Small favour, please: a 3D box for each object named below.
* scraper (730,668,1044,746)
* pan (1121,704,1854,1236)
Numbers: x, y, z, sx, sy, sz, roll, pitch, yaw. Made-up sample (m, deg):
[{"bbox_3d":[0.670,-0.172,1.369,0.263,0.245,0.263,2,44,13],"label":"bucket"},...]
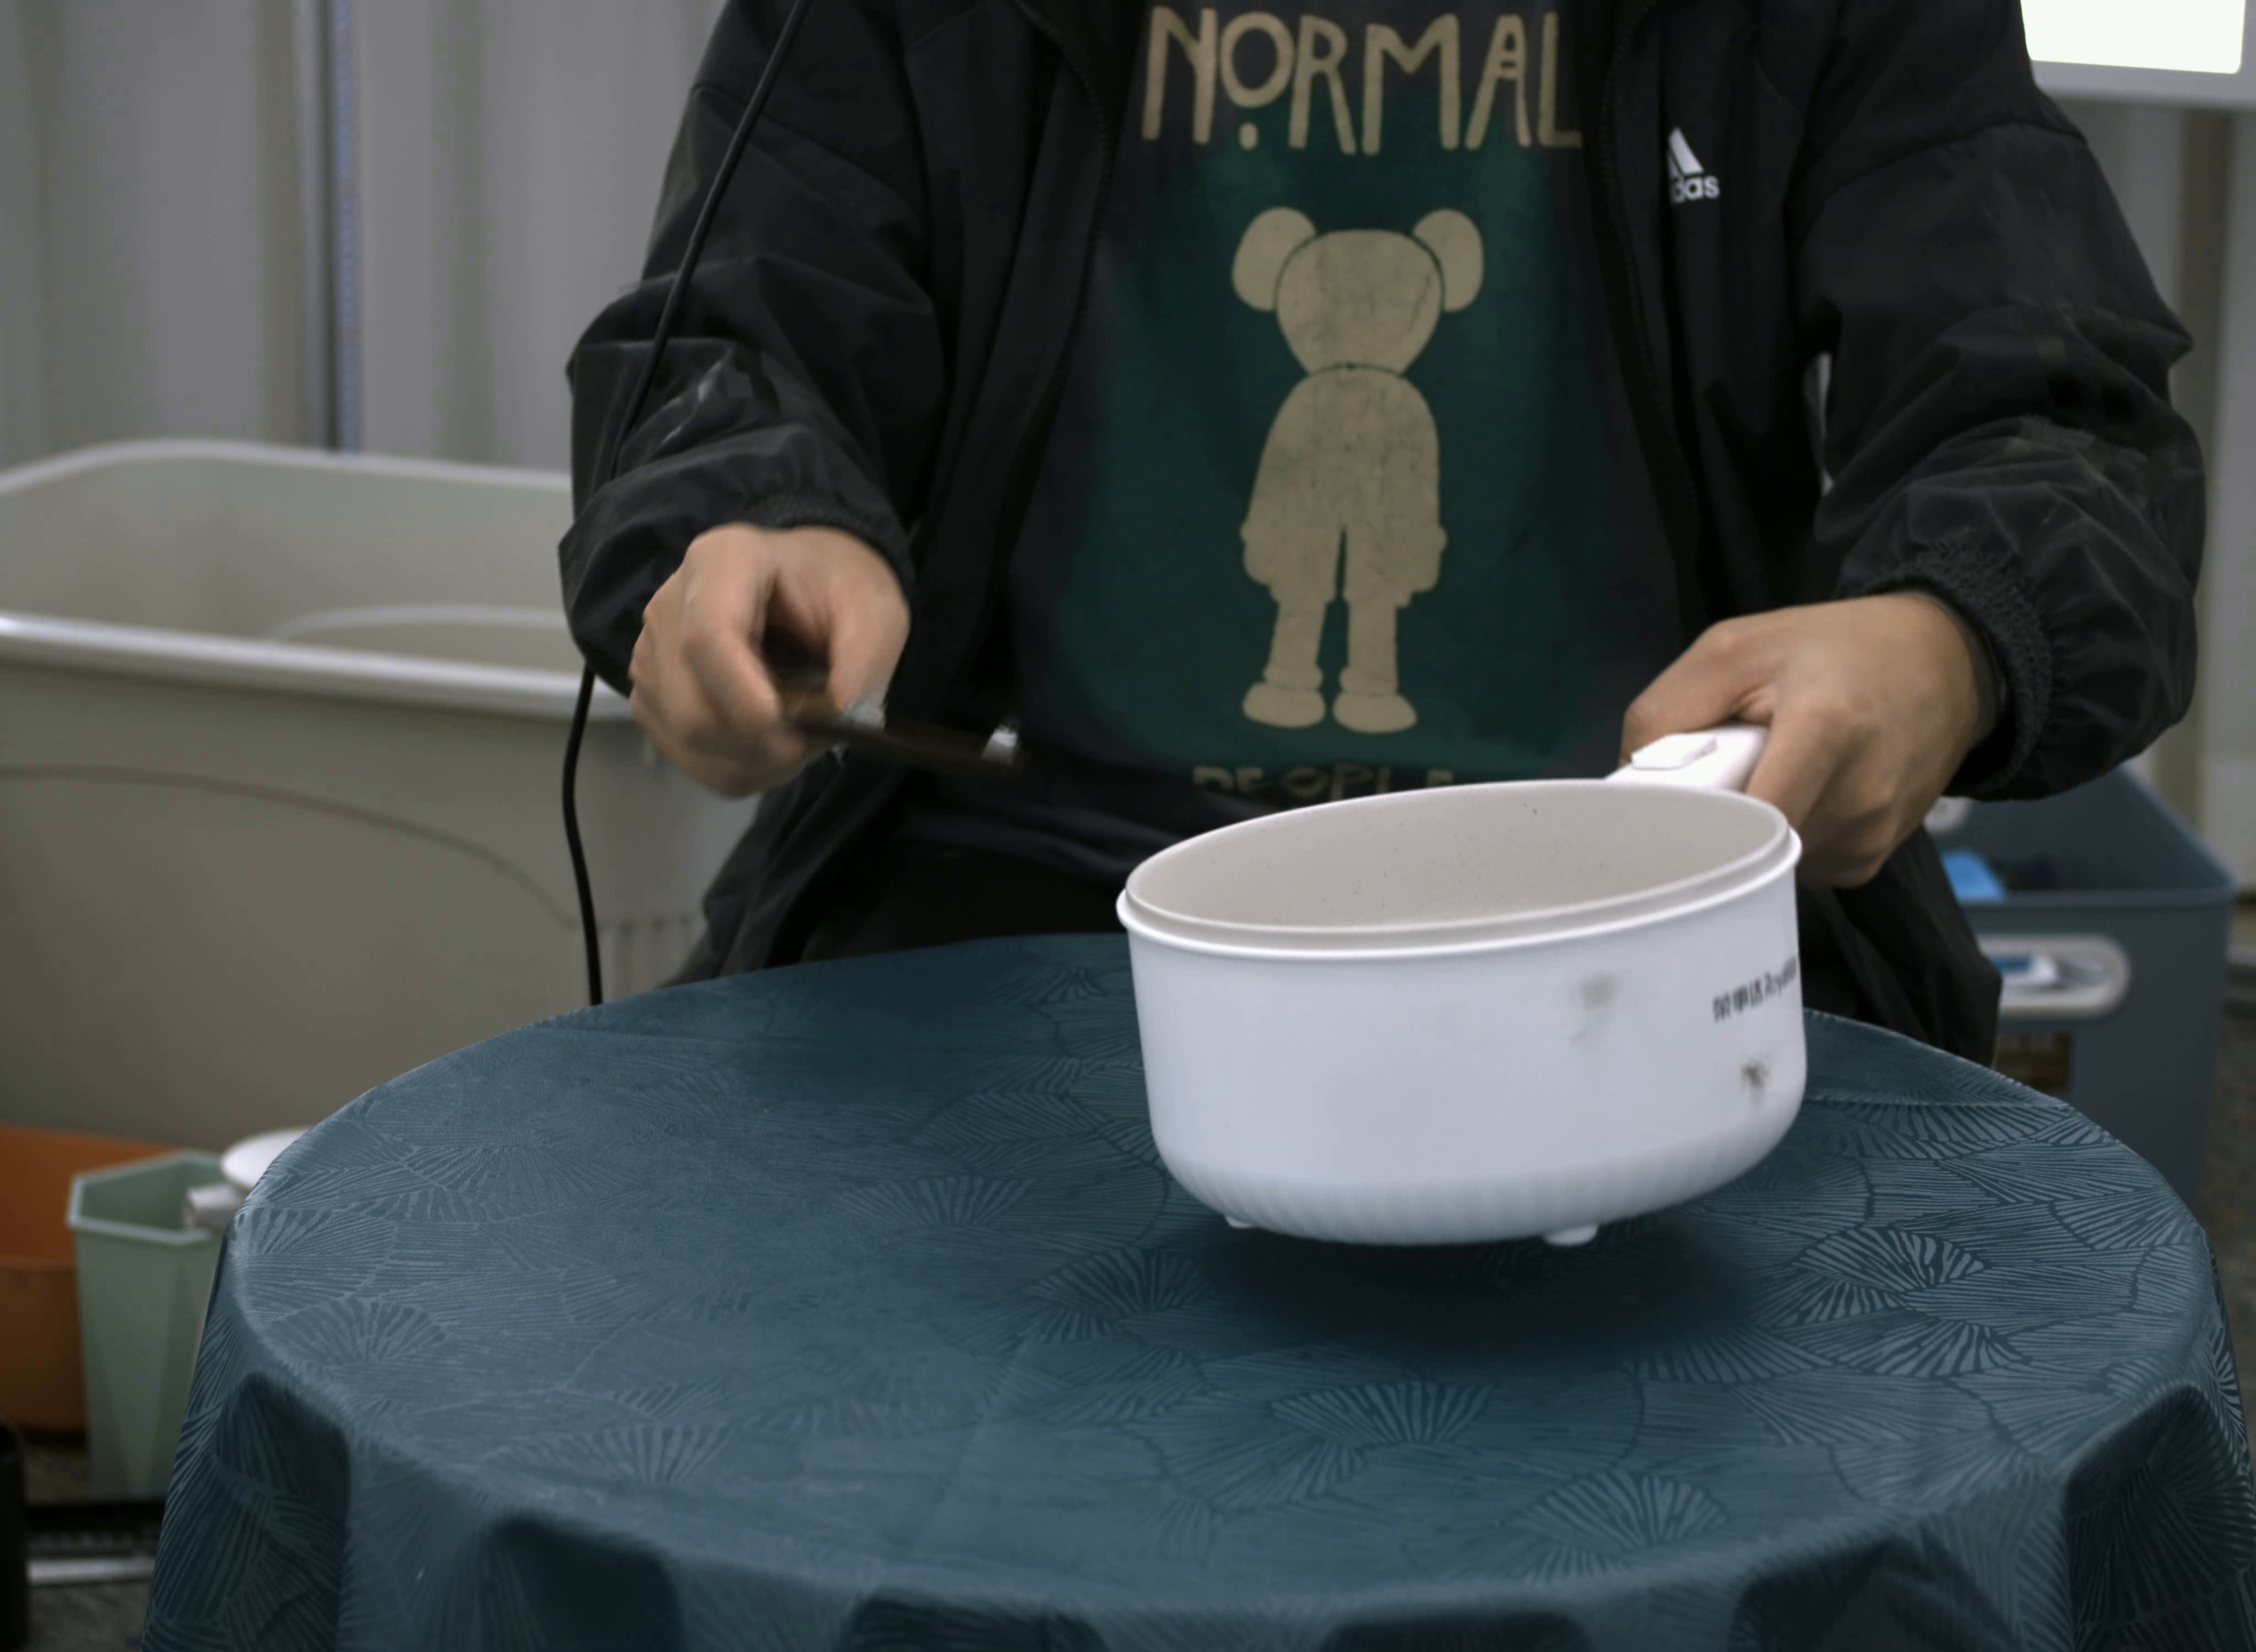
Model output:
[{"bbox_3d":[-0.088,-0.040,1.639,0.076,0.011,0.209,13,0,-18],"label":"scraper"},{"bbox_3d":[0.139,0.040,1.613,0.199,0.103,0.356,-1,11,30],"label":"pan"}]
